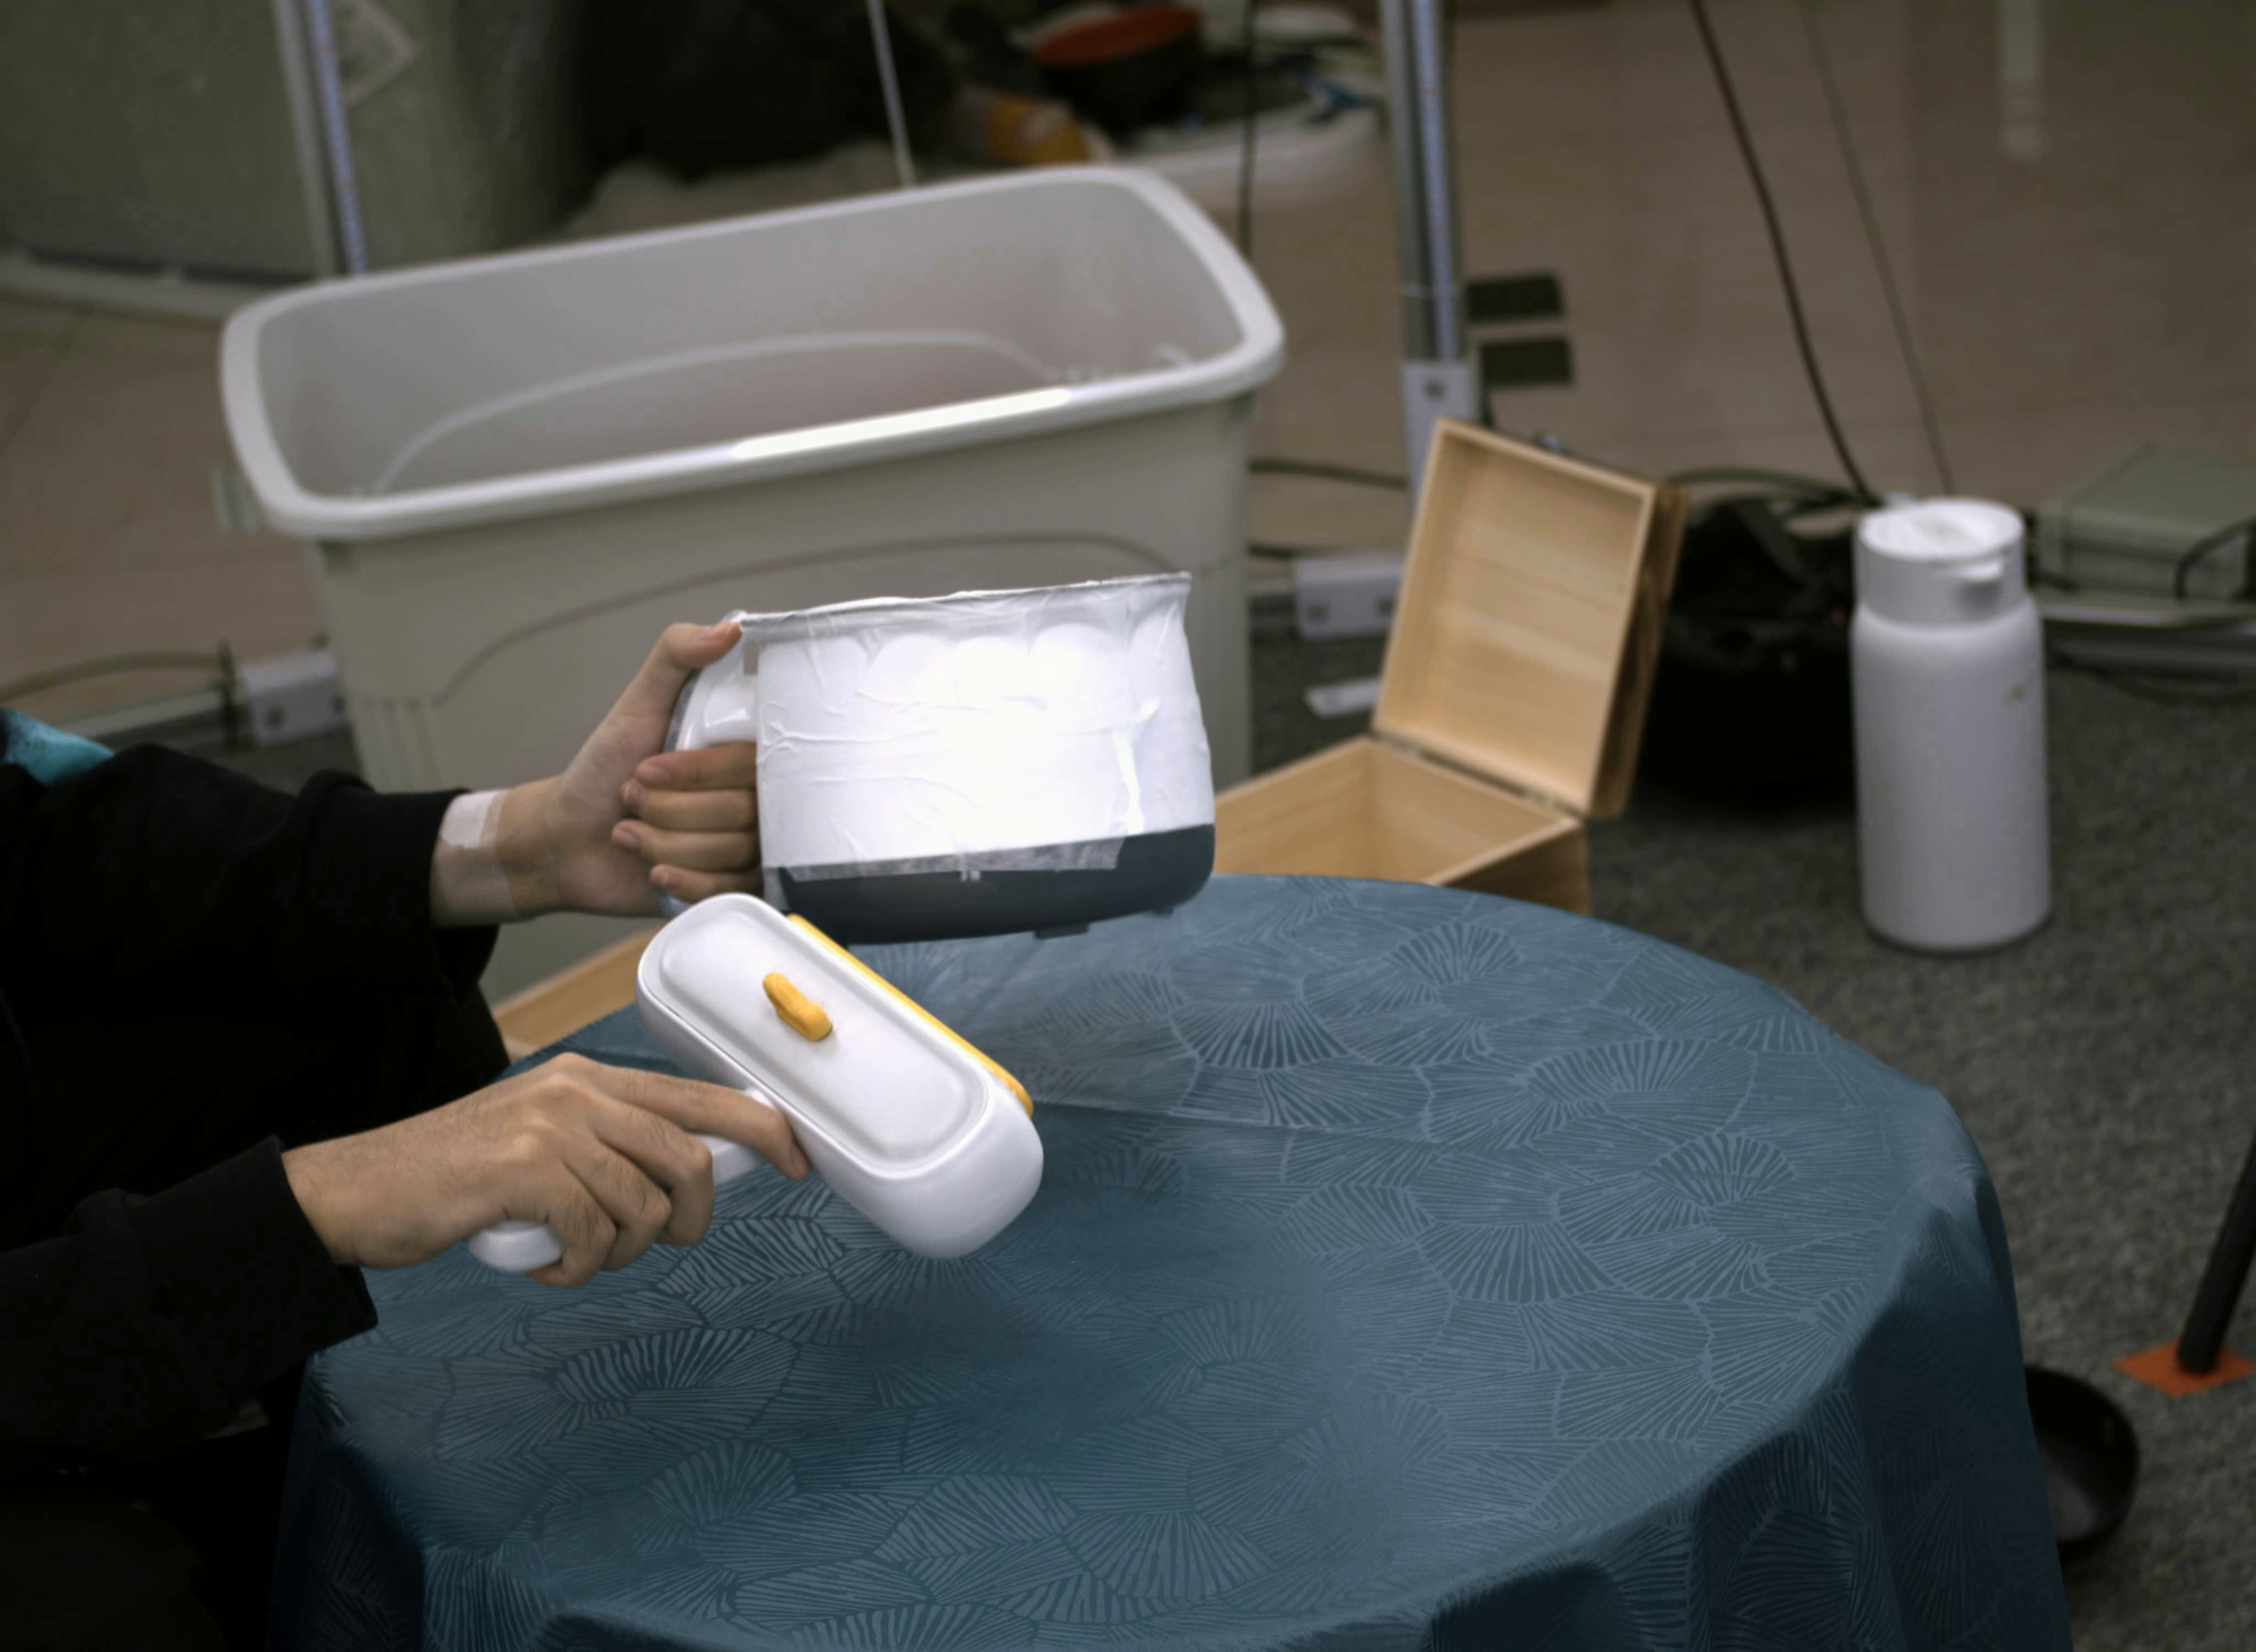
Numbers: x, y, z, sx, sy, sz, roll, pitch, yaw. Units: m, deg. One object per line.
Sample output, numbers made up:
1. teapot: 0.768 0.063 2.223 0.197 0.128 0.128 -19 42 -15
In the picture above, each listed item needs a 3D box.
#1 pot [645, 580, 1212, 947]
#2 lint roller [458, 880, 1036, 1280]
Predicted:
1. pot: -0.082 -0.023 2.198 0.233 0.137 0.178 -3 0 22
2. lint roller: -0.154 0.109 2.010 0.191 0.075 0.191 -37 50 -26
